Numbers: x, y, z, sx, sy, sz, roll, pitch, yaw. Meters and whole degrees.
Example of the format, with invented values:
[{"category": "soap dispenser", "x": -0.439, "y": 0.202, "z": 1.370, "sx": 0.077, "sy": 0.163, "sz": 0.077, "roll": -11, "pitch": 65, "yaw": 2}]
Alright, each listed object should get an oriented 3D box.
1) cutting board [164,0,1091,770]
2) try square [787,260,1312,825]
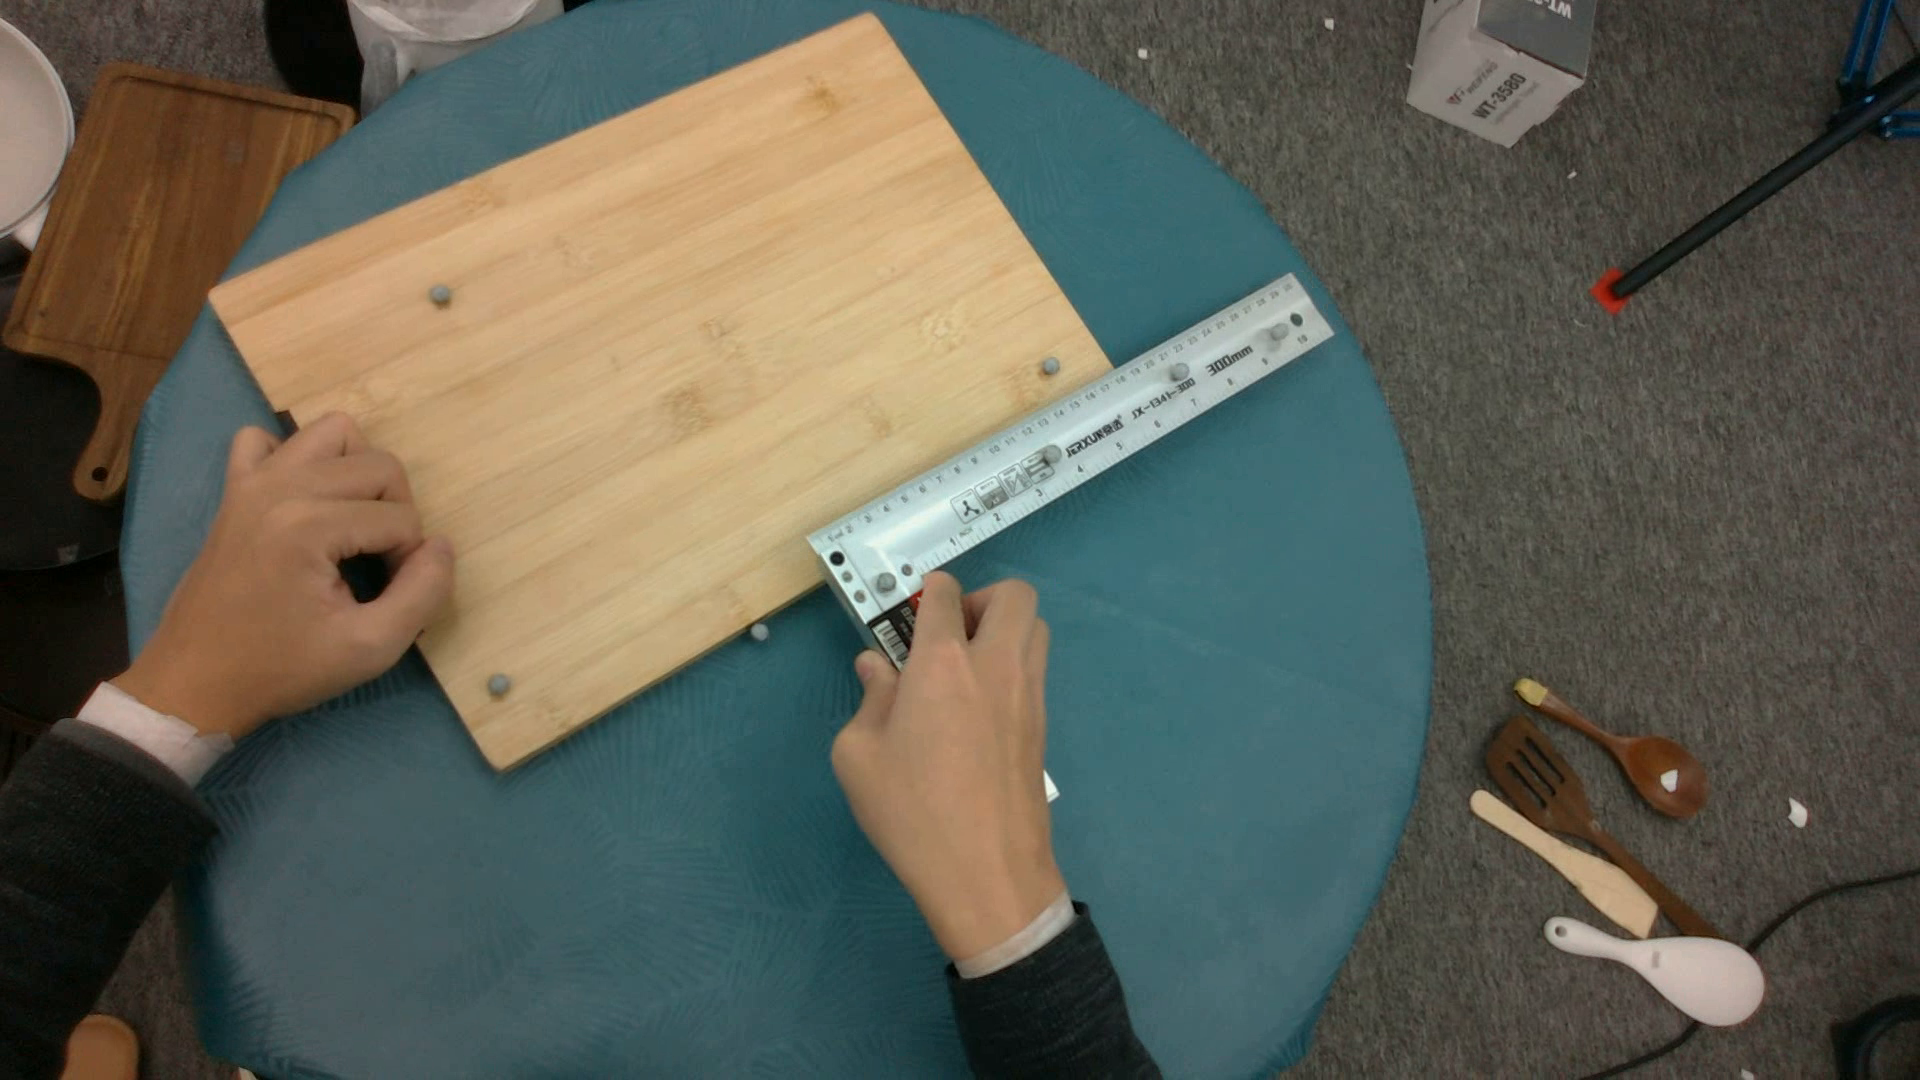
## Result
[{"category": "cutting board", "x": -0.131, "y": -0.089, "z": 0.634, "sx": 0.350, "sy": 0.023, "sz": 0.251, "roll": -33, "pitch": 84, "yaw": -22}, {"category": "try square", "x": 0.084, "y": -0.015, "z": 0.645, "sx": 0.314, "sy": 0.016, "sz": 0.152, "roll": -31, "pitch": 83, "yaw": -27}]
